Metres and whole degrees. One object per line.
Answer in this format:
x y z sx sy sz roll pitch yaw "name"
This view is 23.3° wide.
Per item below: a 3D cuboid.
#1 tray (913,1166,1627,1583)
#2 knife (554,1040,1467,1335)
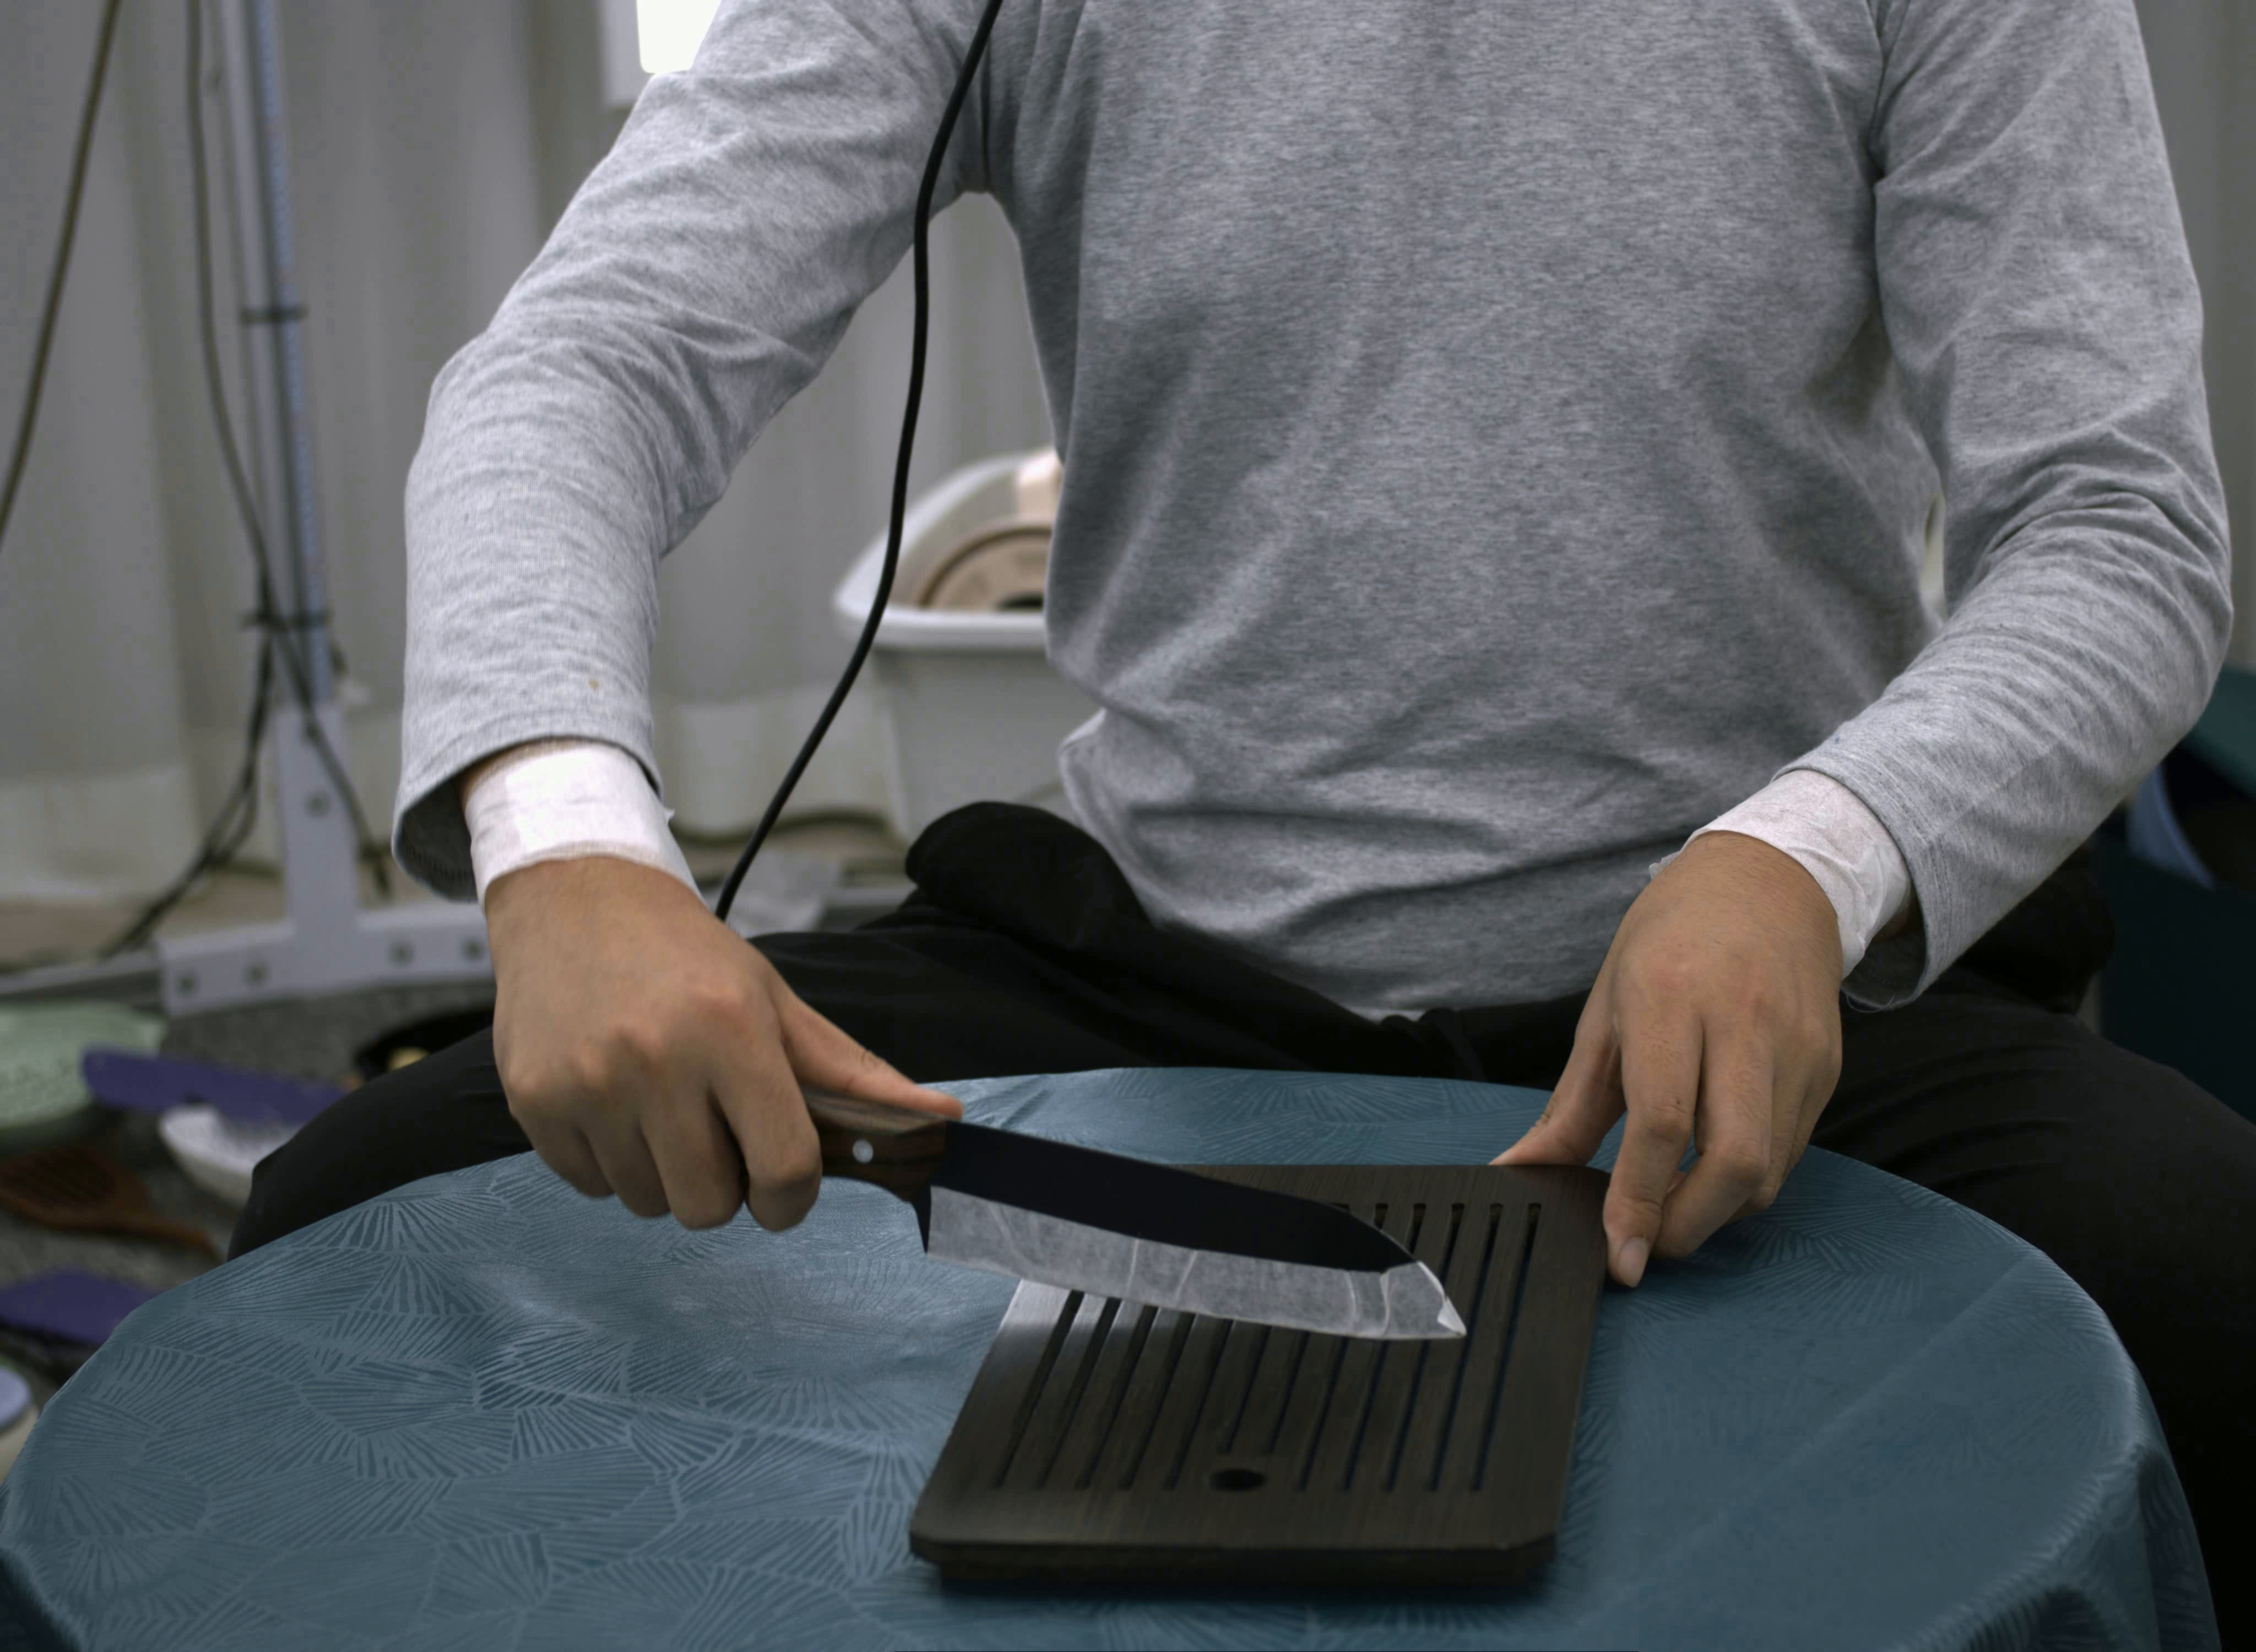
0.048 0.151 1.537 0.170 0.018 0.307 -1 14 9 "tray"
-0.037 0.104 1.570 0.290 0.050 0.020 14 20 21 "knife"
